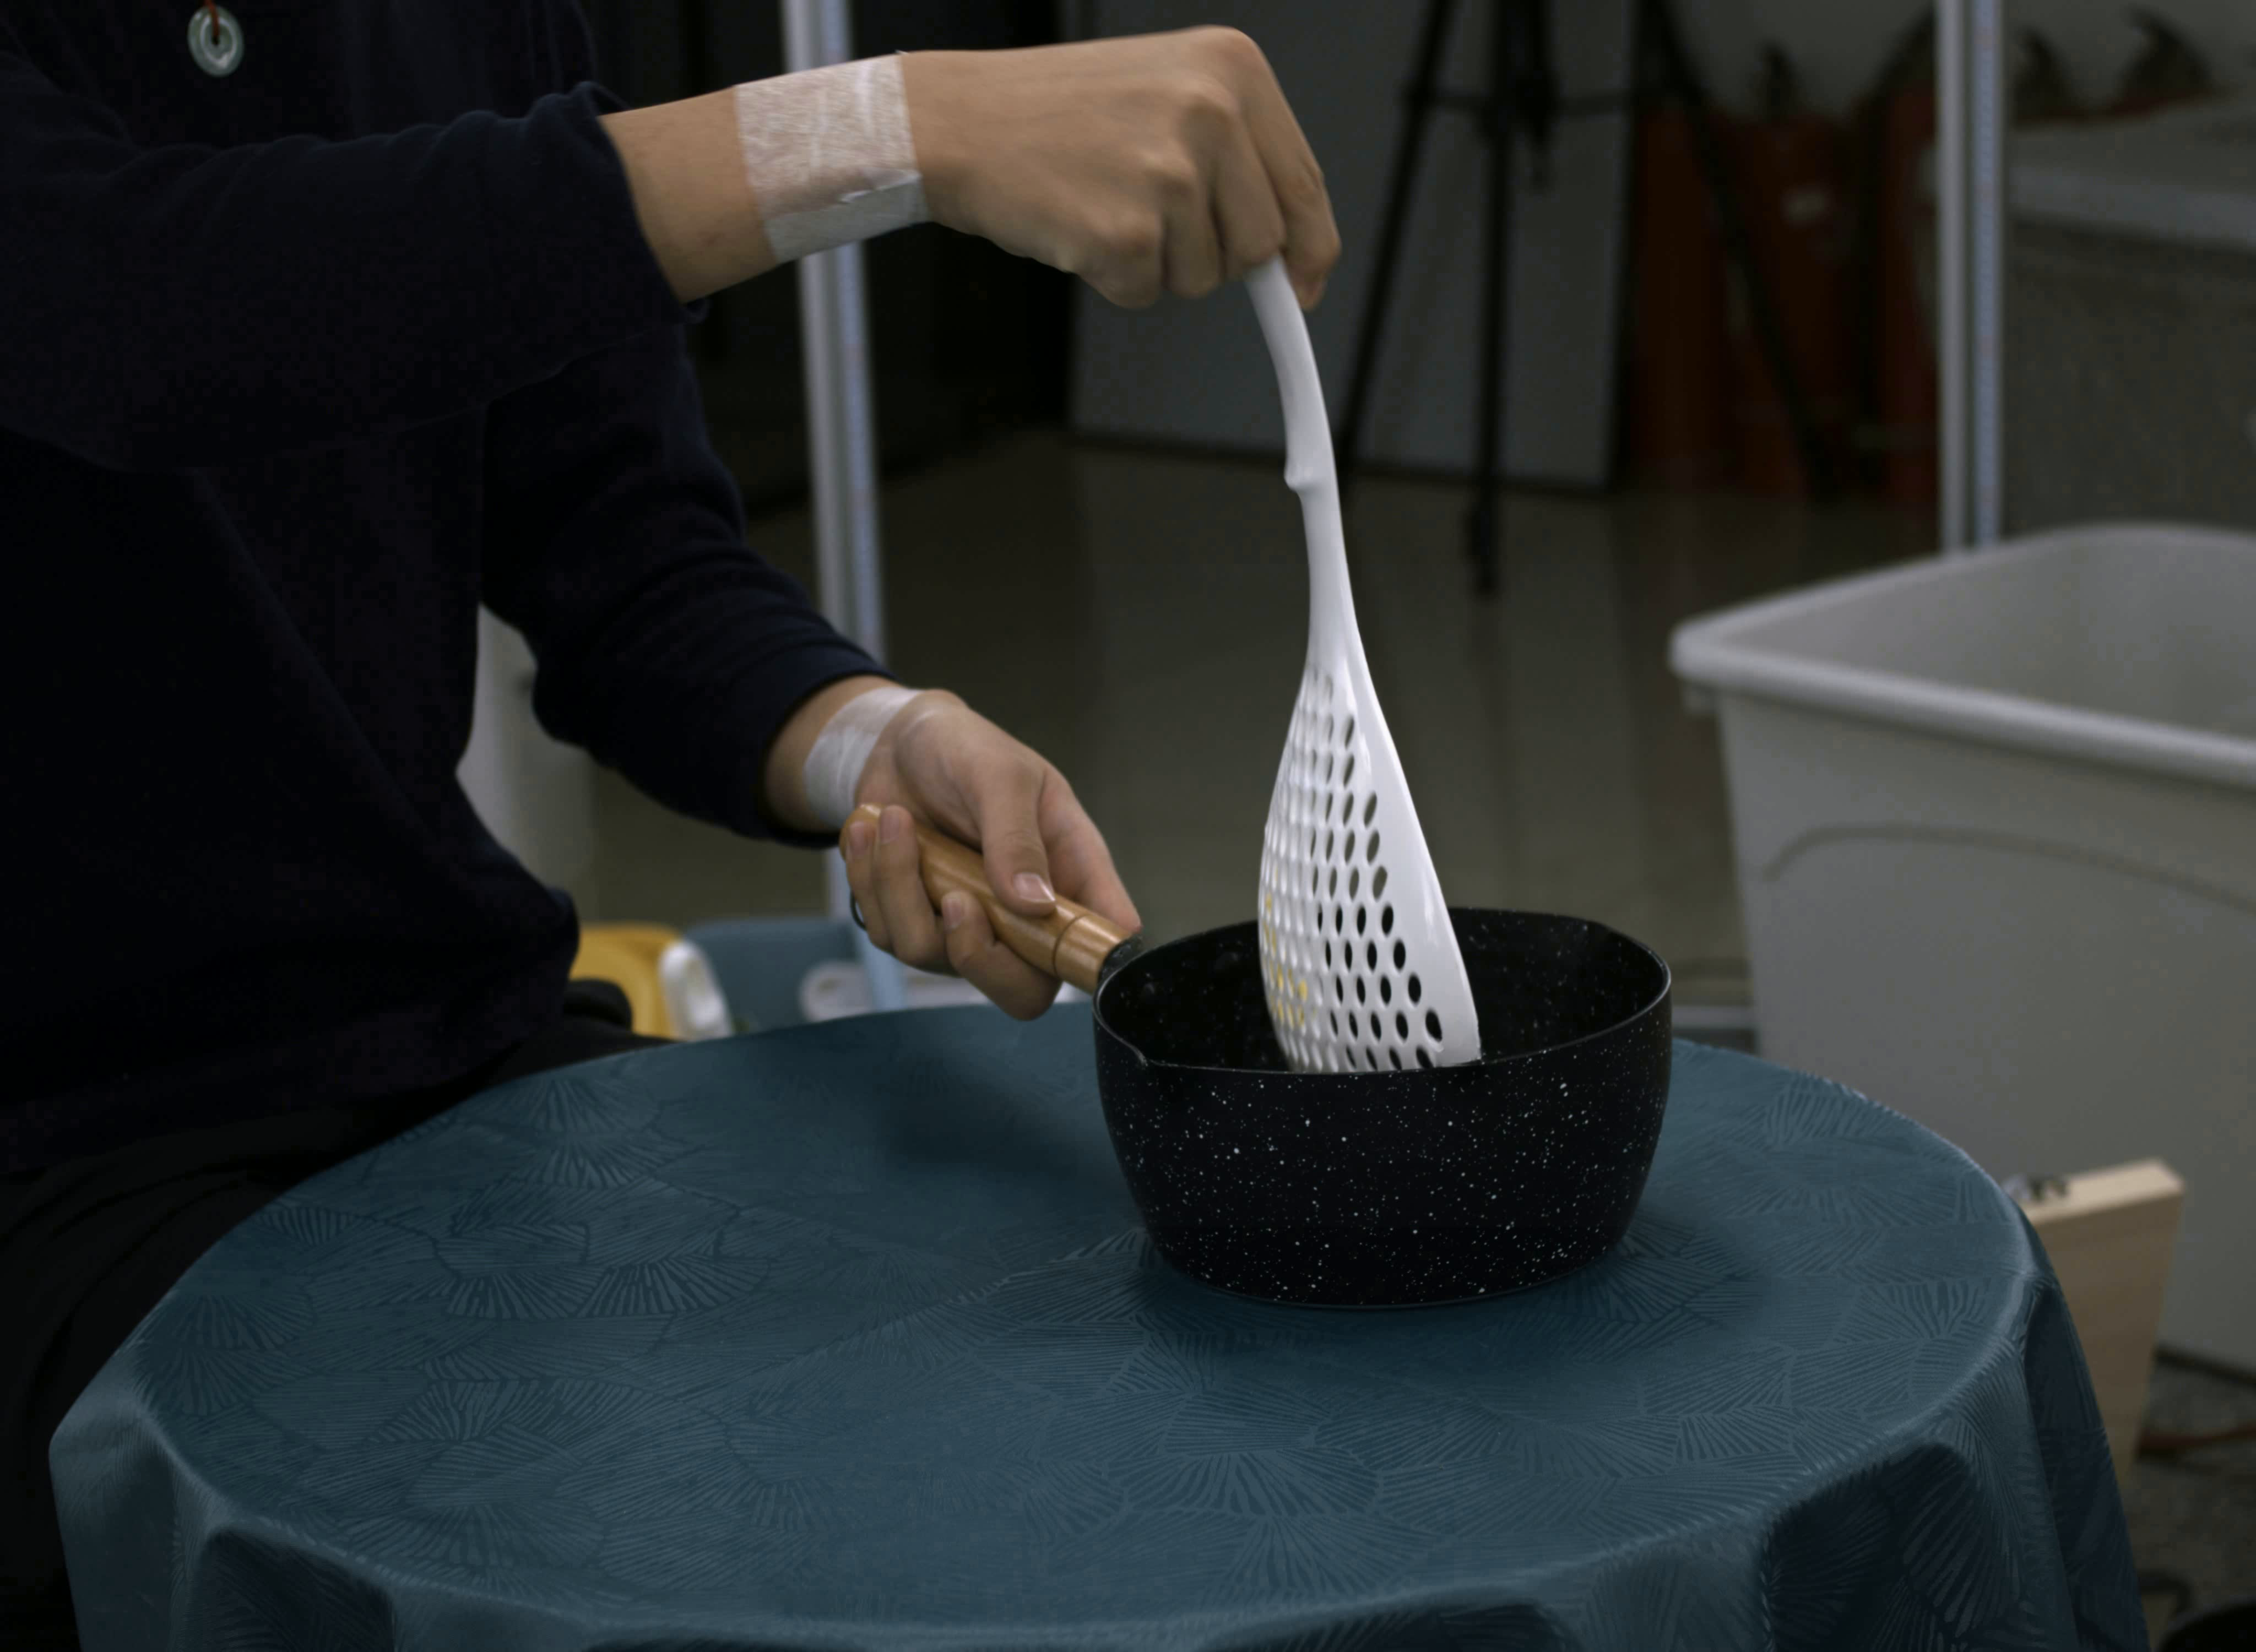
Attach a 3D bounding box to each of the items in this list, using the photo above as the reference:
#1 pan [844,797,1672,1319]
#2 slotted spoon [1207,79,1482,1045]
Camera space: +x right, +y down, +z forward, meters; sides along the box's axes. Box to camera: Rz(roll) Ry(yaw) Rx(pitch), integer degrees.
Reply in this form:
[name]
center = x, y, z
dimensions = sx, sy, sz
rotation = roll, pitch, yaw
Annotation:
[pan]
center = 0.025, 0.068, 1.753
dimensions = 0.203, 0.109, 0.346
rotation = -18, 20, -41
[slotted spoon]
center = 0.056, -0.054, 1.657
dimensions = 0.049, 0.352, 0.138
rotation = -8, 13, -19
